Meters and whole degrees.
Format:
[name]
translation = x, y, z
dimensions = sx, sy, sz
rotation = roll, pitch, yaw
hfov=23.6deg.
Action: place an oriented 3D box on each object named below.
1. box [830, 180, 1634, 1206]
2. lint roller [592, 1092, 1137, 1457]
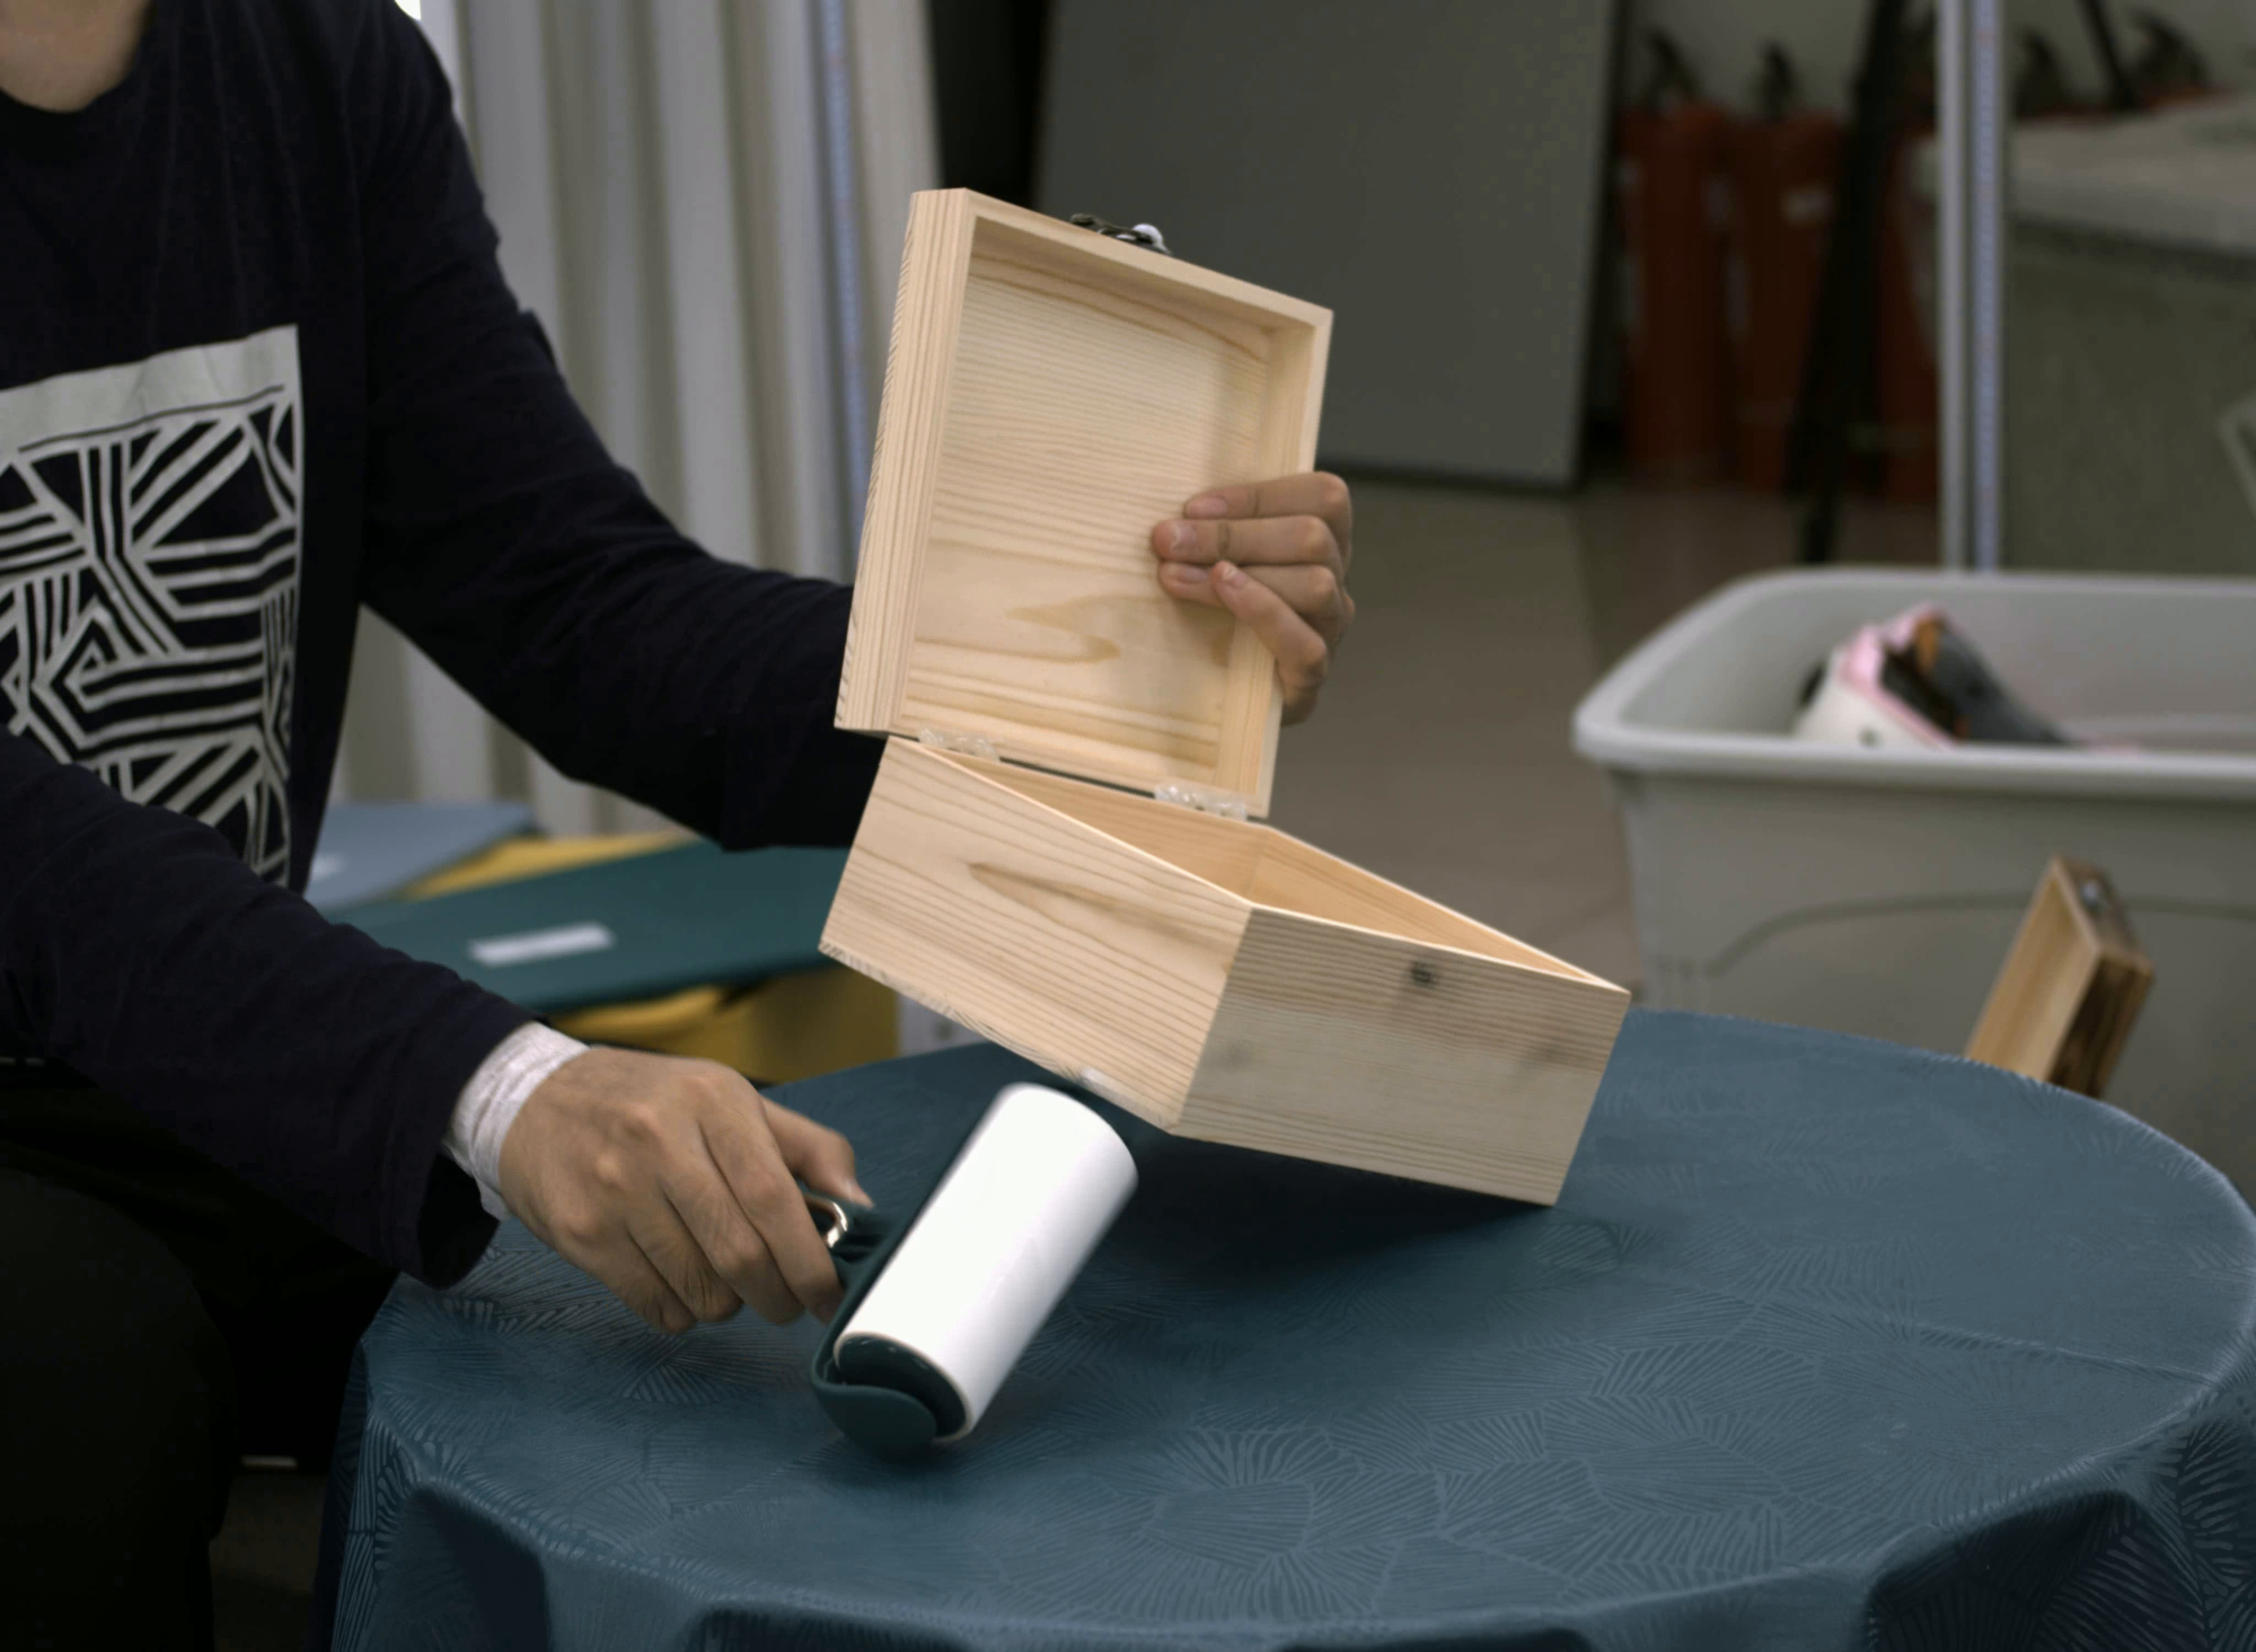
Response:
[box]
translation = 0.037, -0.046, 1.747
dimensions = 0.178, 0.256, 0.268
rotation = 11, 9, -44
[lint roller]
translation = -0.094, 0.123, 1.607
dimensions = 0.181, 0.048, 0.133
rotation = 7, 42, 34
